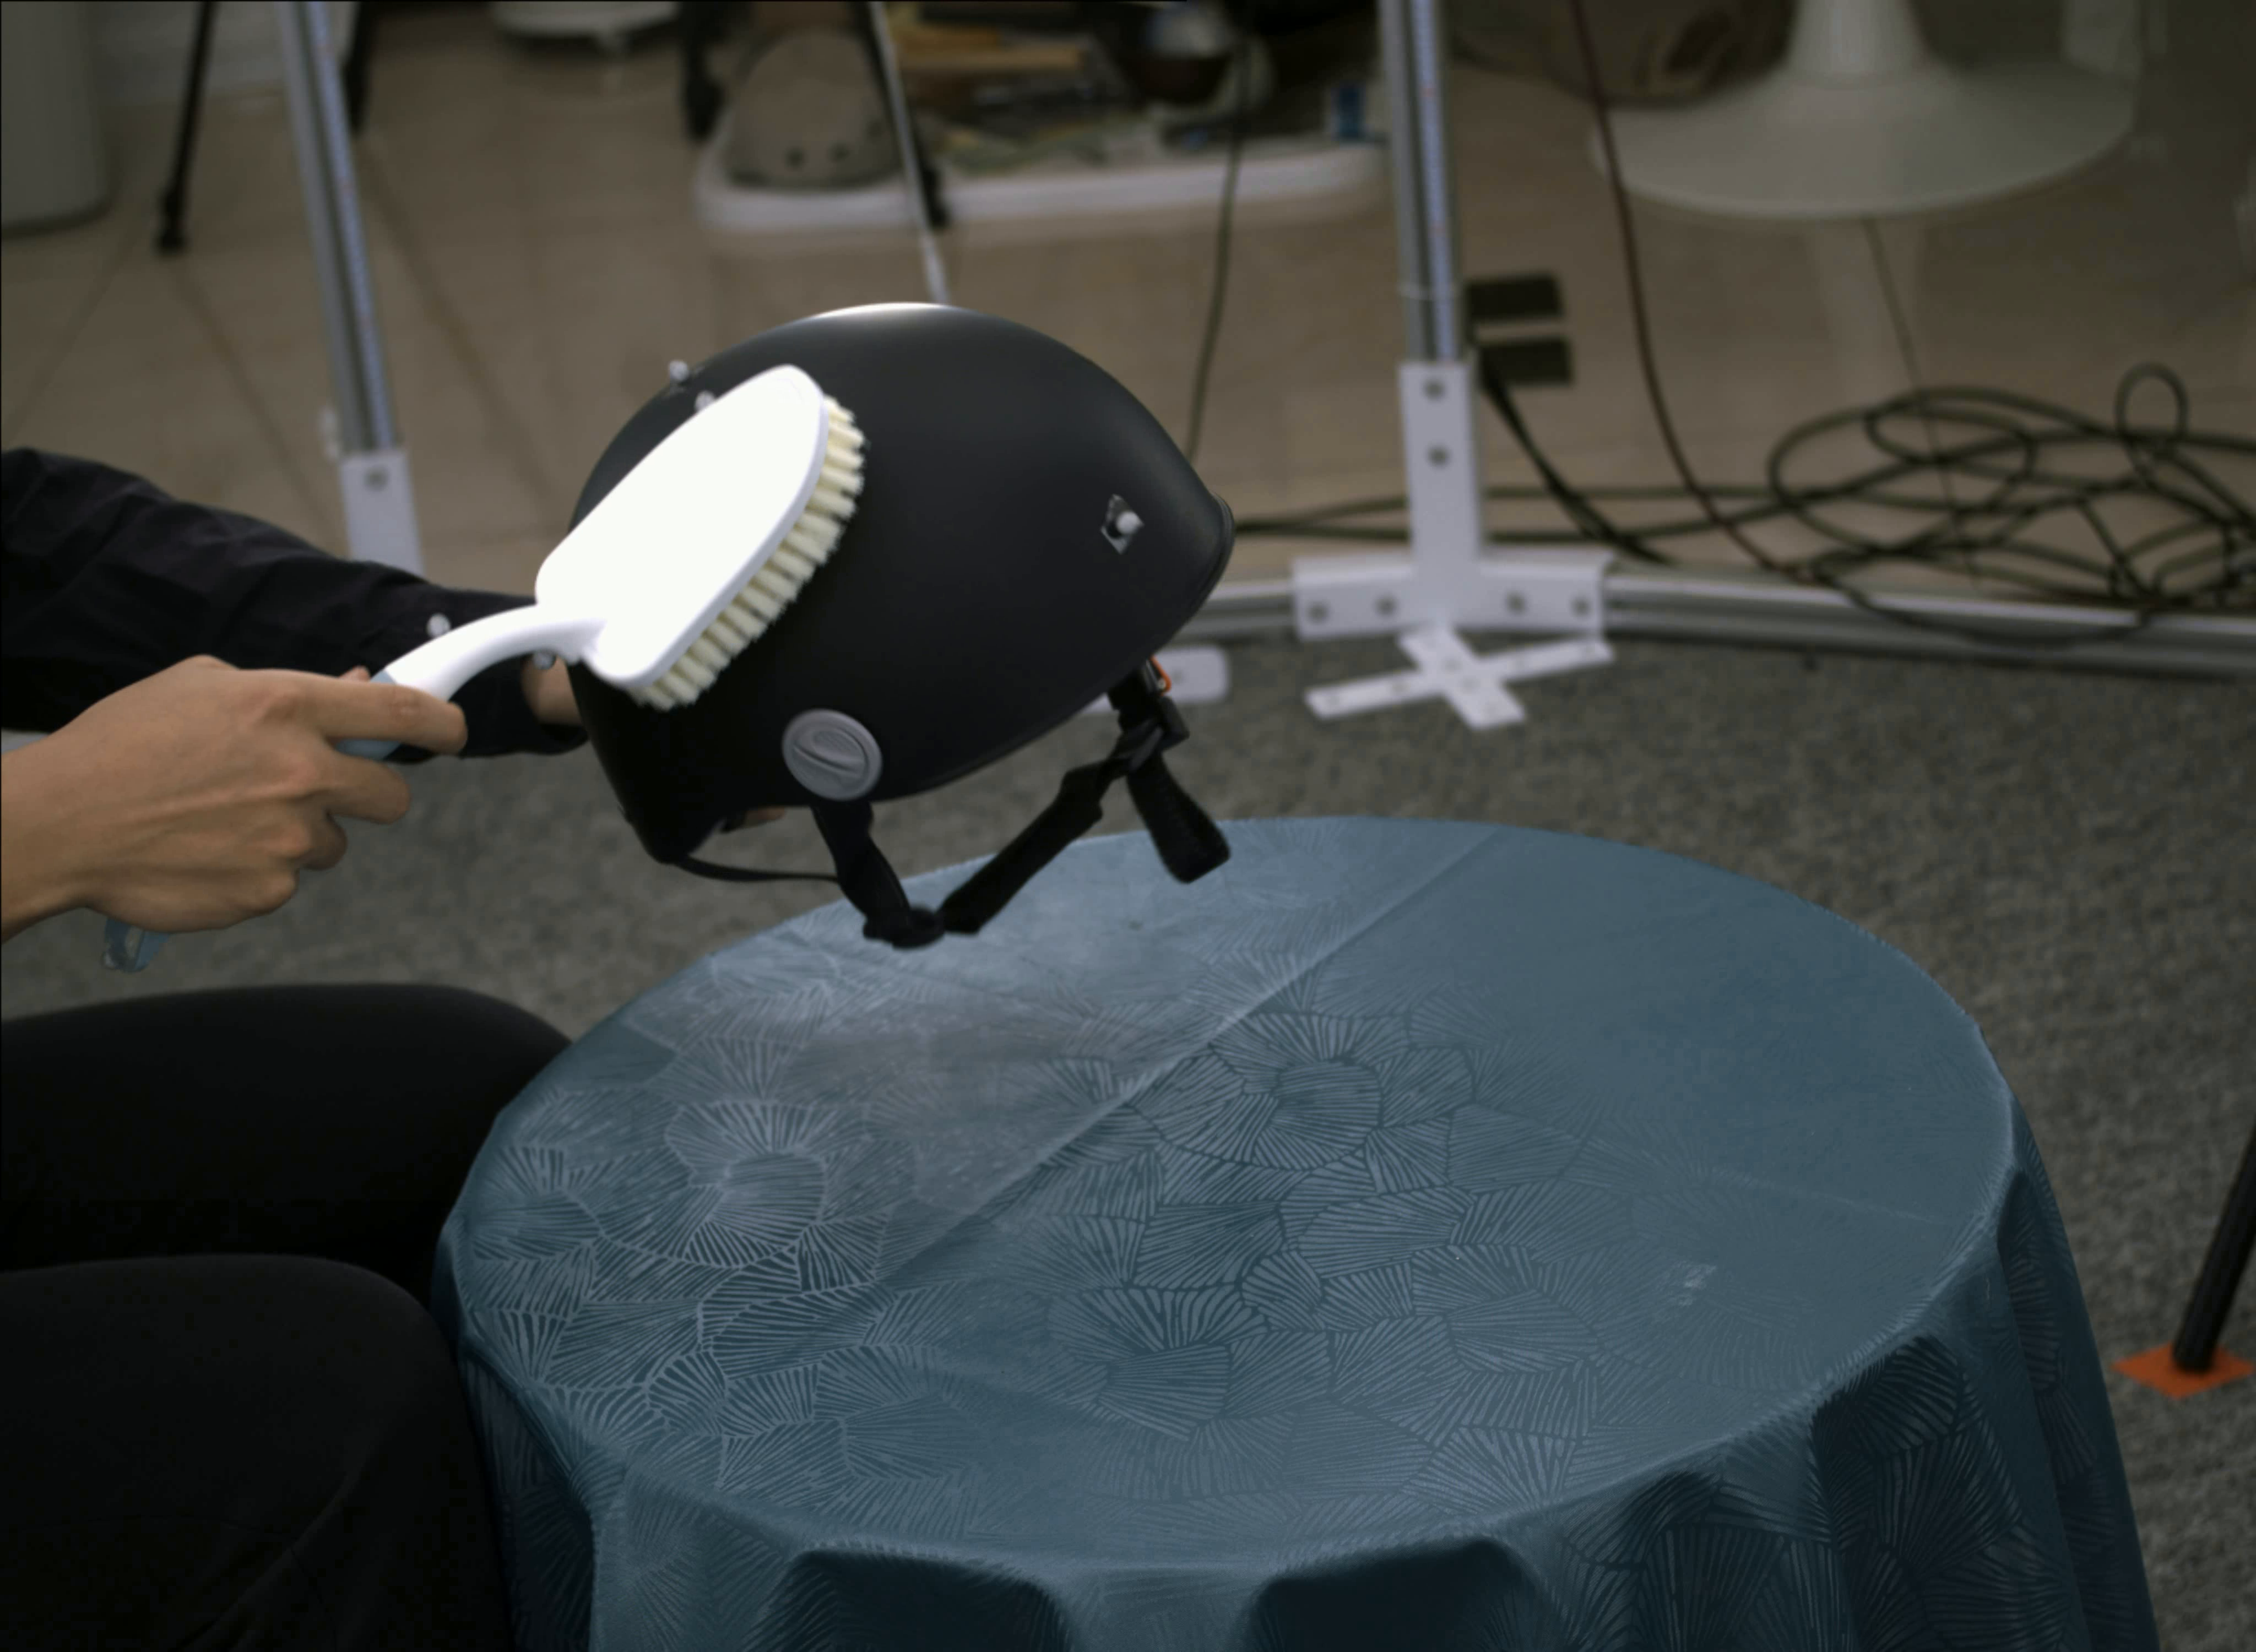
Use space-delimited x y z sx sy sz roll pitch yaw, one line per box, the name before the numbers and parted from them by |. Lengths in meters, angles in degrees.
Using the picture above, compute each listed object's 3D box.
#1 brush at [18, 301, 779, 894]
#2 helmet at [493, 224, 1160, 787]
brush | -0.257 -0.071 2.029 0.324 0.085 0.082 -39 20 -7
helmet | -0.134 -0.138 2.151 0.274 0.168 0.226 -16 30 44
